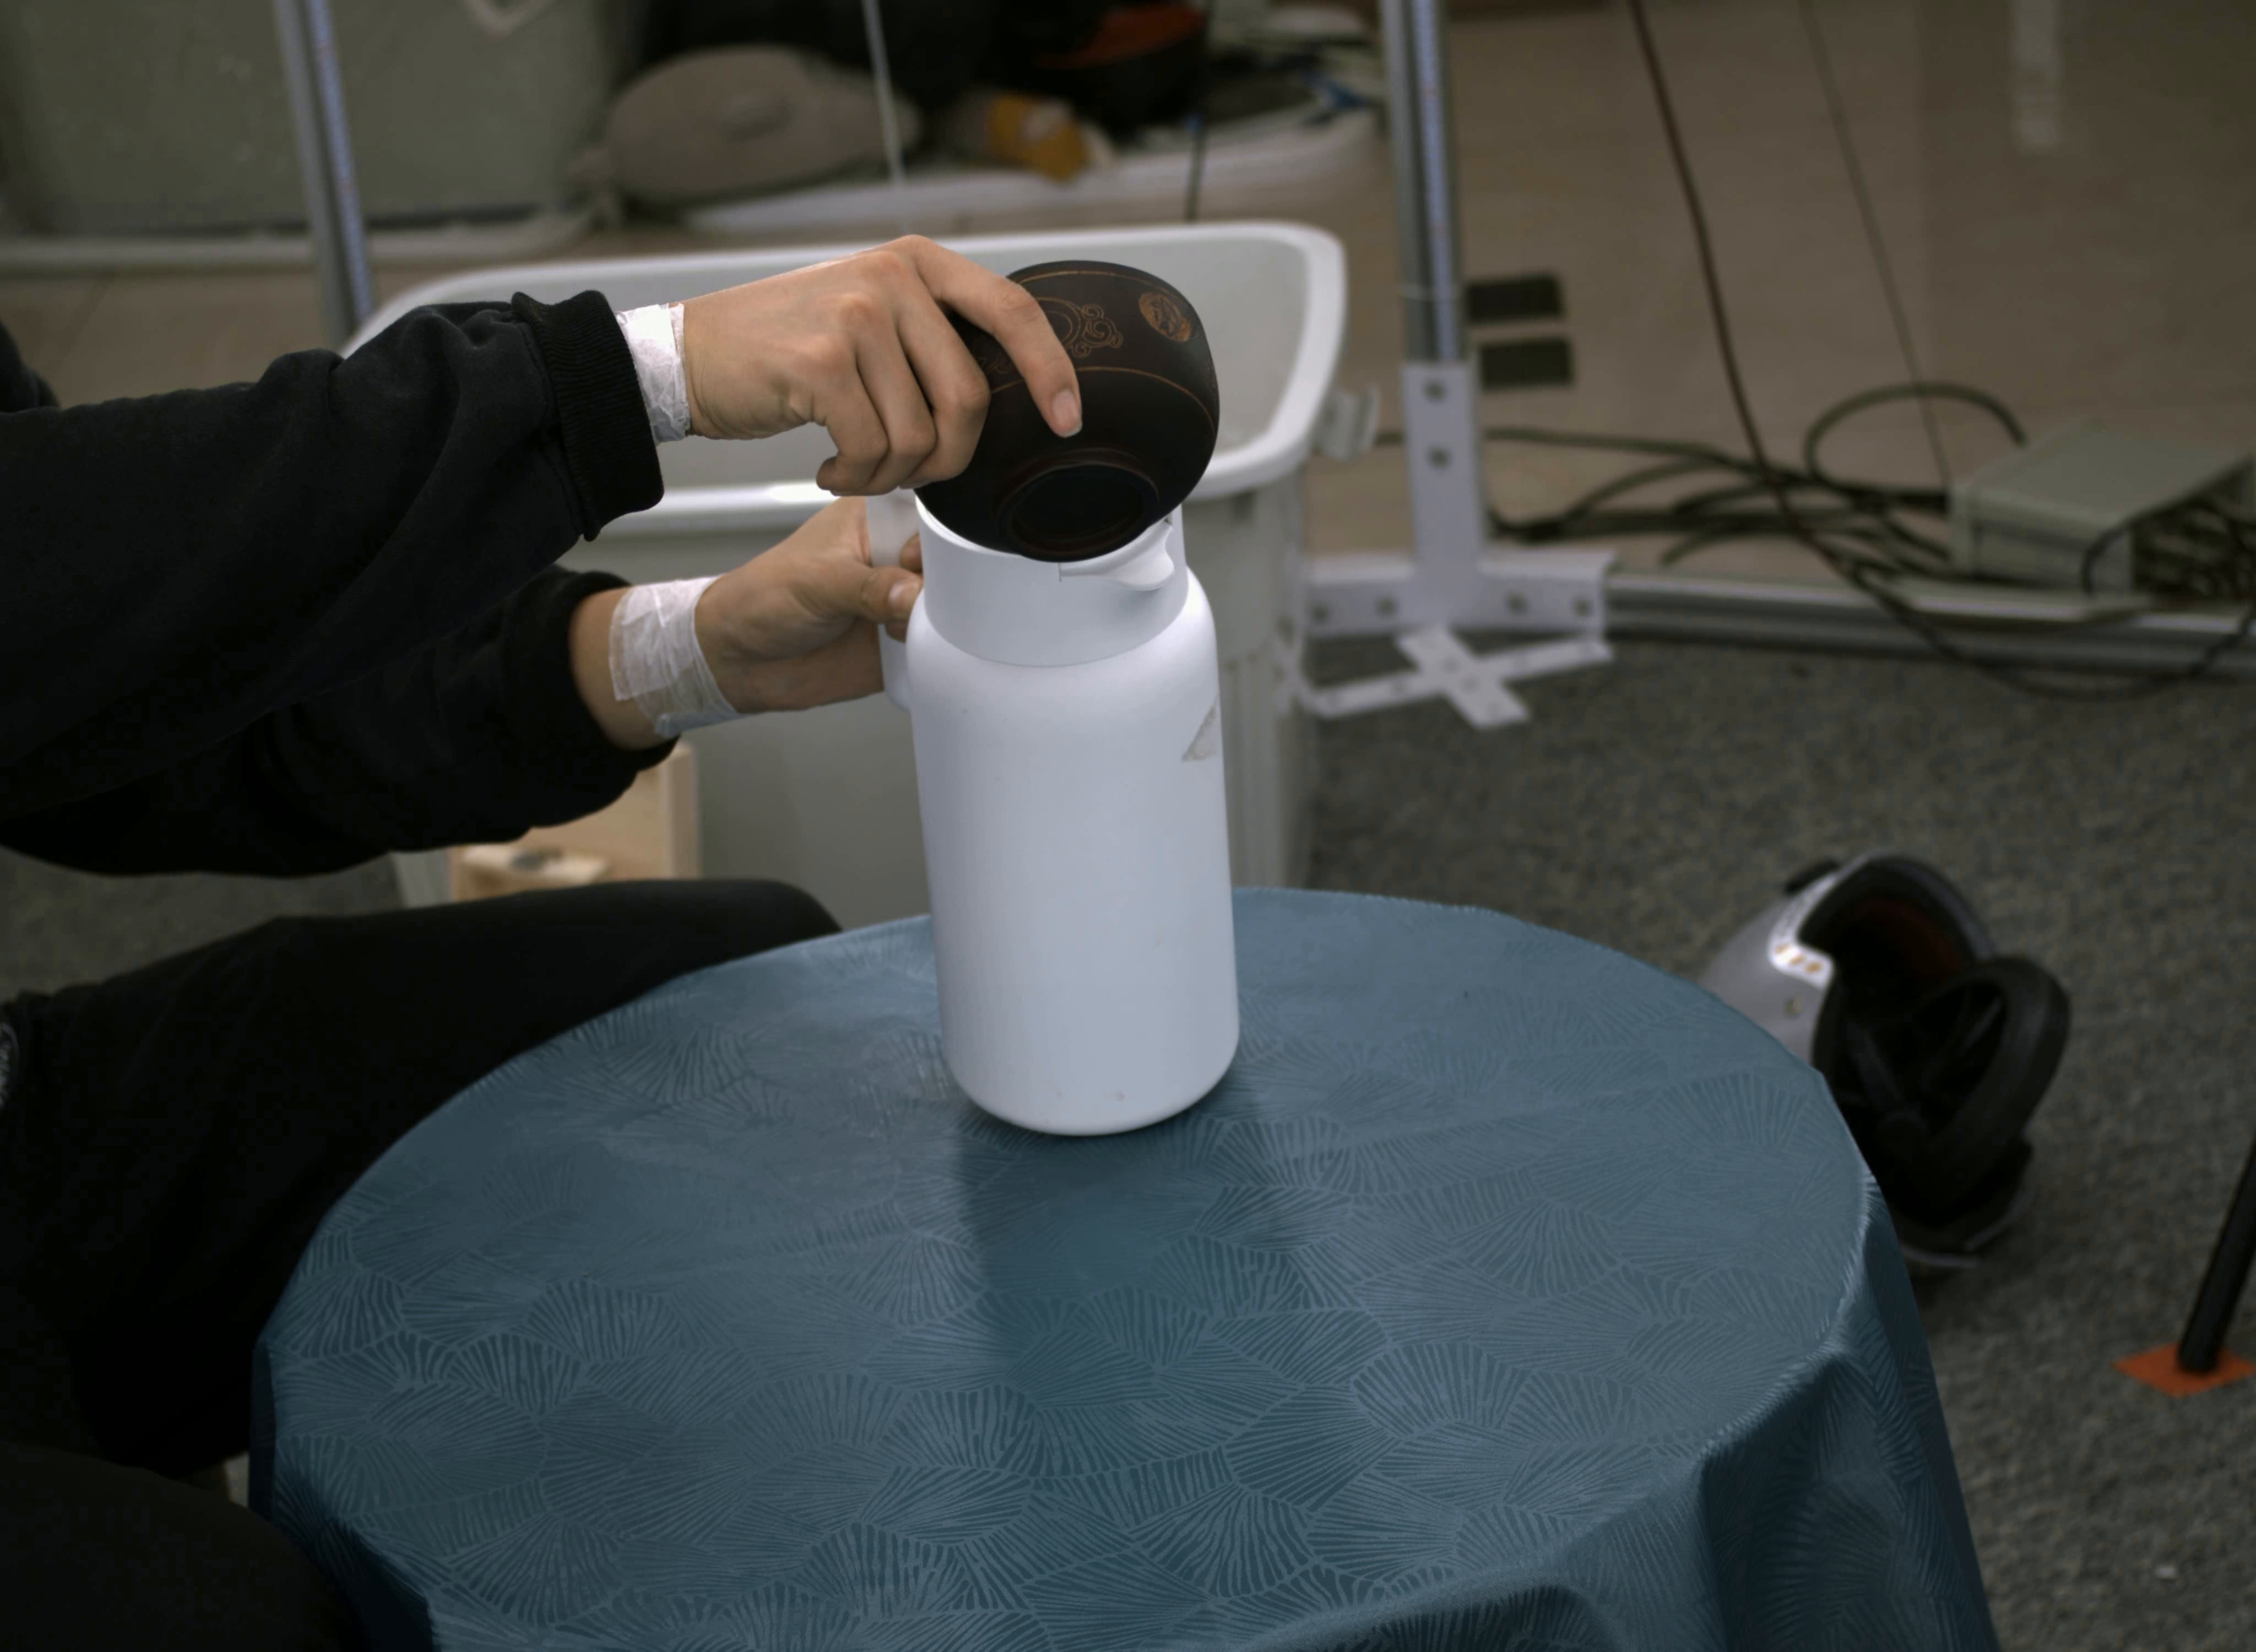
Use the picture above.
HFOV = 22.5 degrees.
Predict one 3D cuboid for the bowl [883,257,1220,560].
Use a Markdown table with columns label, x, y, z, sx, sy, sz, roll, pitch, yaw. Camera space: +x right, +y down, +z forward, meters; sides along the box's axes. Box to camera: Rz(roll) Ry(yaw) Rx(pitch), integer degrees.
| label | x | y | z | sx | sy | sz | roll | pitch | yaw |
| --- | --- | --- | --- | --- | --- | --- | --- | --- | --- |
| bowl | -0.024 | -0.137 | 1.979 | 0.118 | 0.120 | 0.069 | -9 | 59 | -7 |

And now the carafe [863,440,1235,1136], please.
| label | x | y | z | sx | sy | sz | roll | pitch | yaw |
| --- | --- | --- | --- | --- | --- | --- | --- | --- | --- |
| carafe | -0.034 | -0.024 | 2.166 | 0.123 | 0.274 | 0.171 | -30 | 44 | -28 |
